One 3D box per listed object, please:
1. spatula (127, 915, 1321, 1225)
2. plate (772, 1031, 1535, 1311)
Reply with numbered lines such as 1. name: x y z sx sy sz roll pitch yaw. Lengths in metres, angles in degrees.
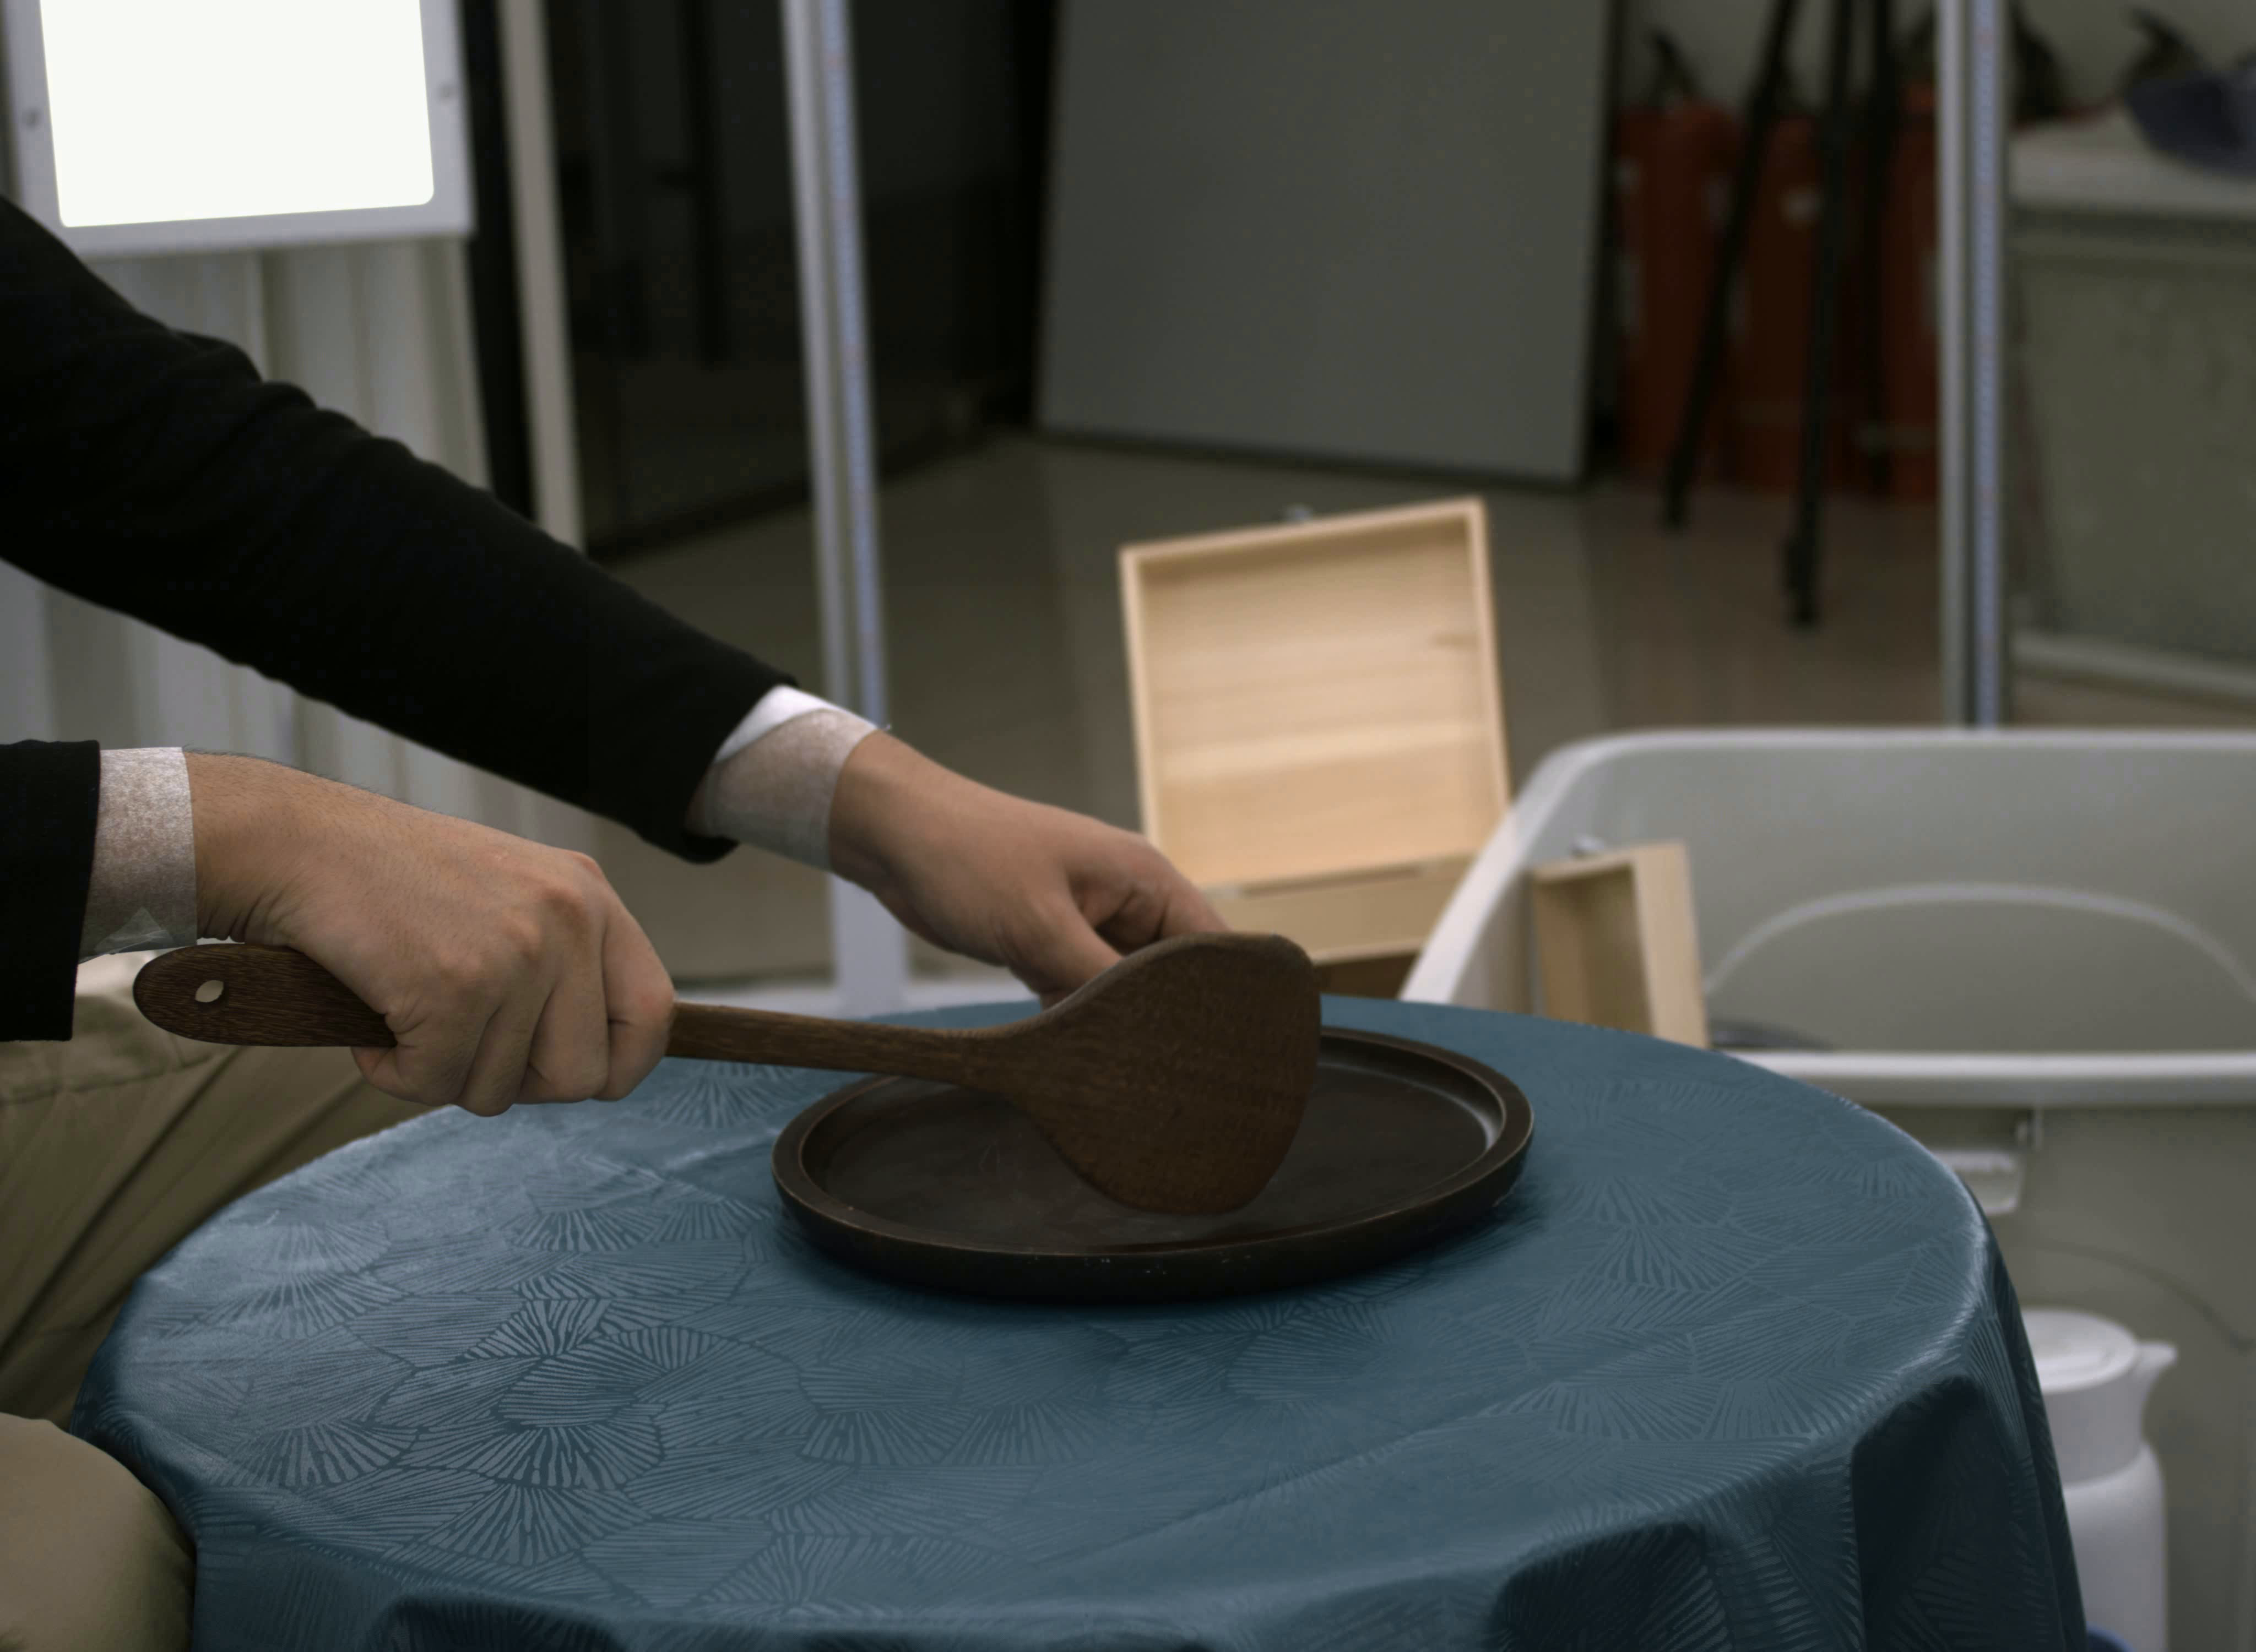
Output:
1. spatula: -0.112 0.060 1.606 0.377 0.097 0.016 7 12 -24
2. plate: 0.009 0.109 1.764 0.251 0.029 0.255 -5 15 0
